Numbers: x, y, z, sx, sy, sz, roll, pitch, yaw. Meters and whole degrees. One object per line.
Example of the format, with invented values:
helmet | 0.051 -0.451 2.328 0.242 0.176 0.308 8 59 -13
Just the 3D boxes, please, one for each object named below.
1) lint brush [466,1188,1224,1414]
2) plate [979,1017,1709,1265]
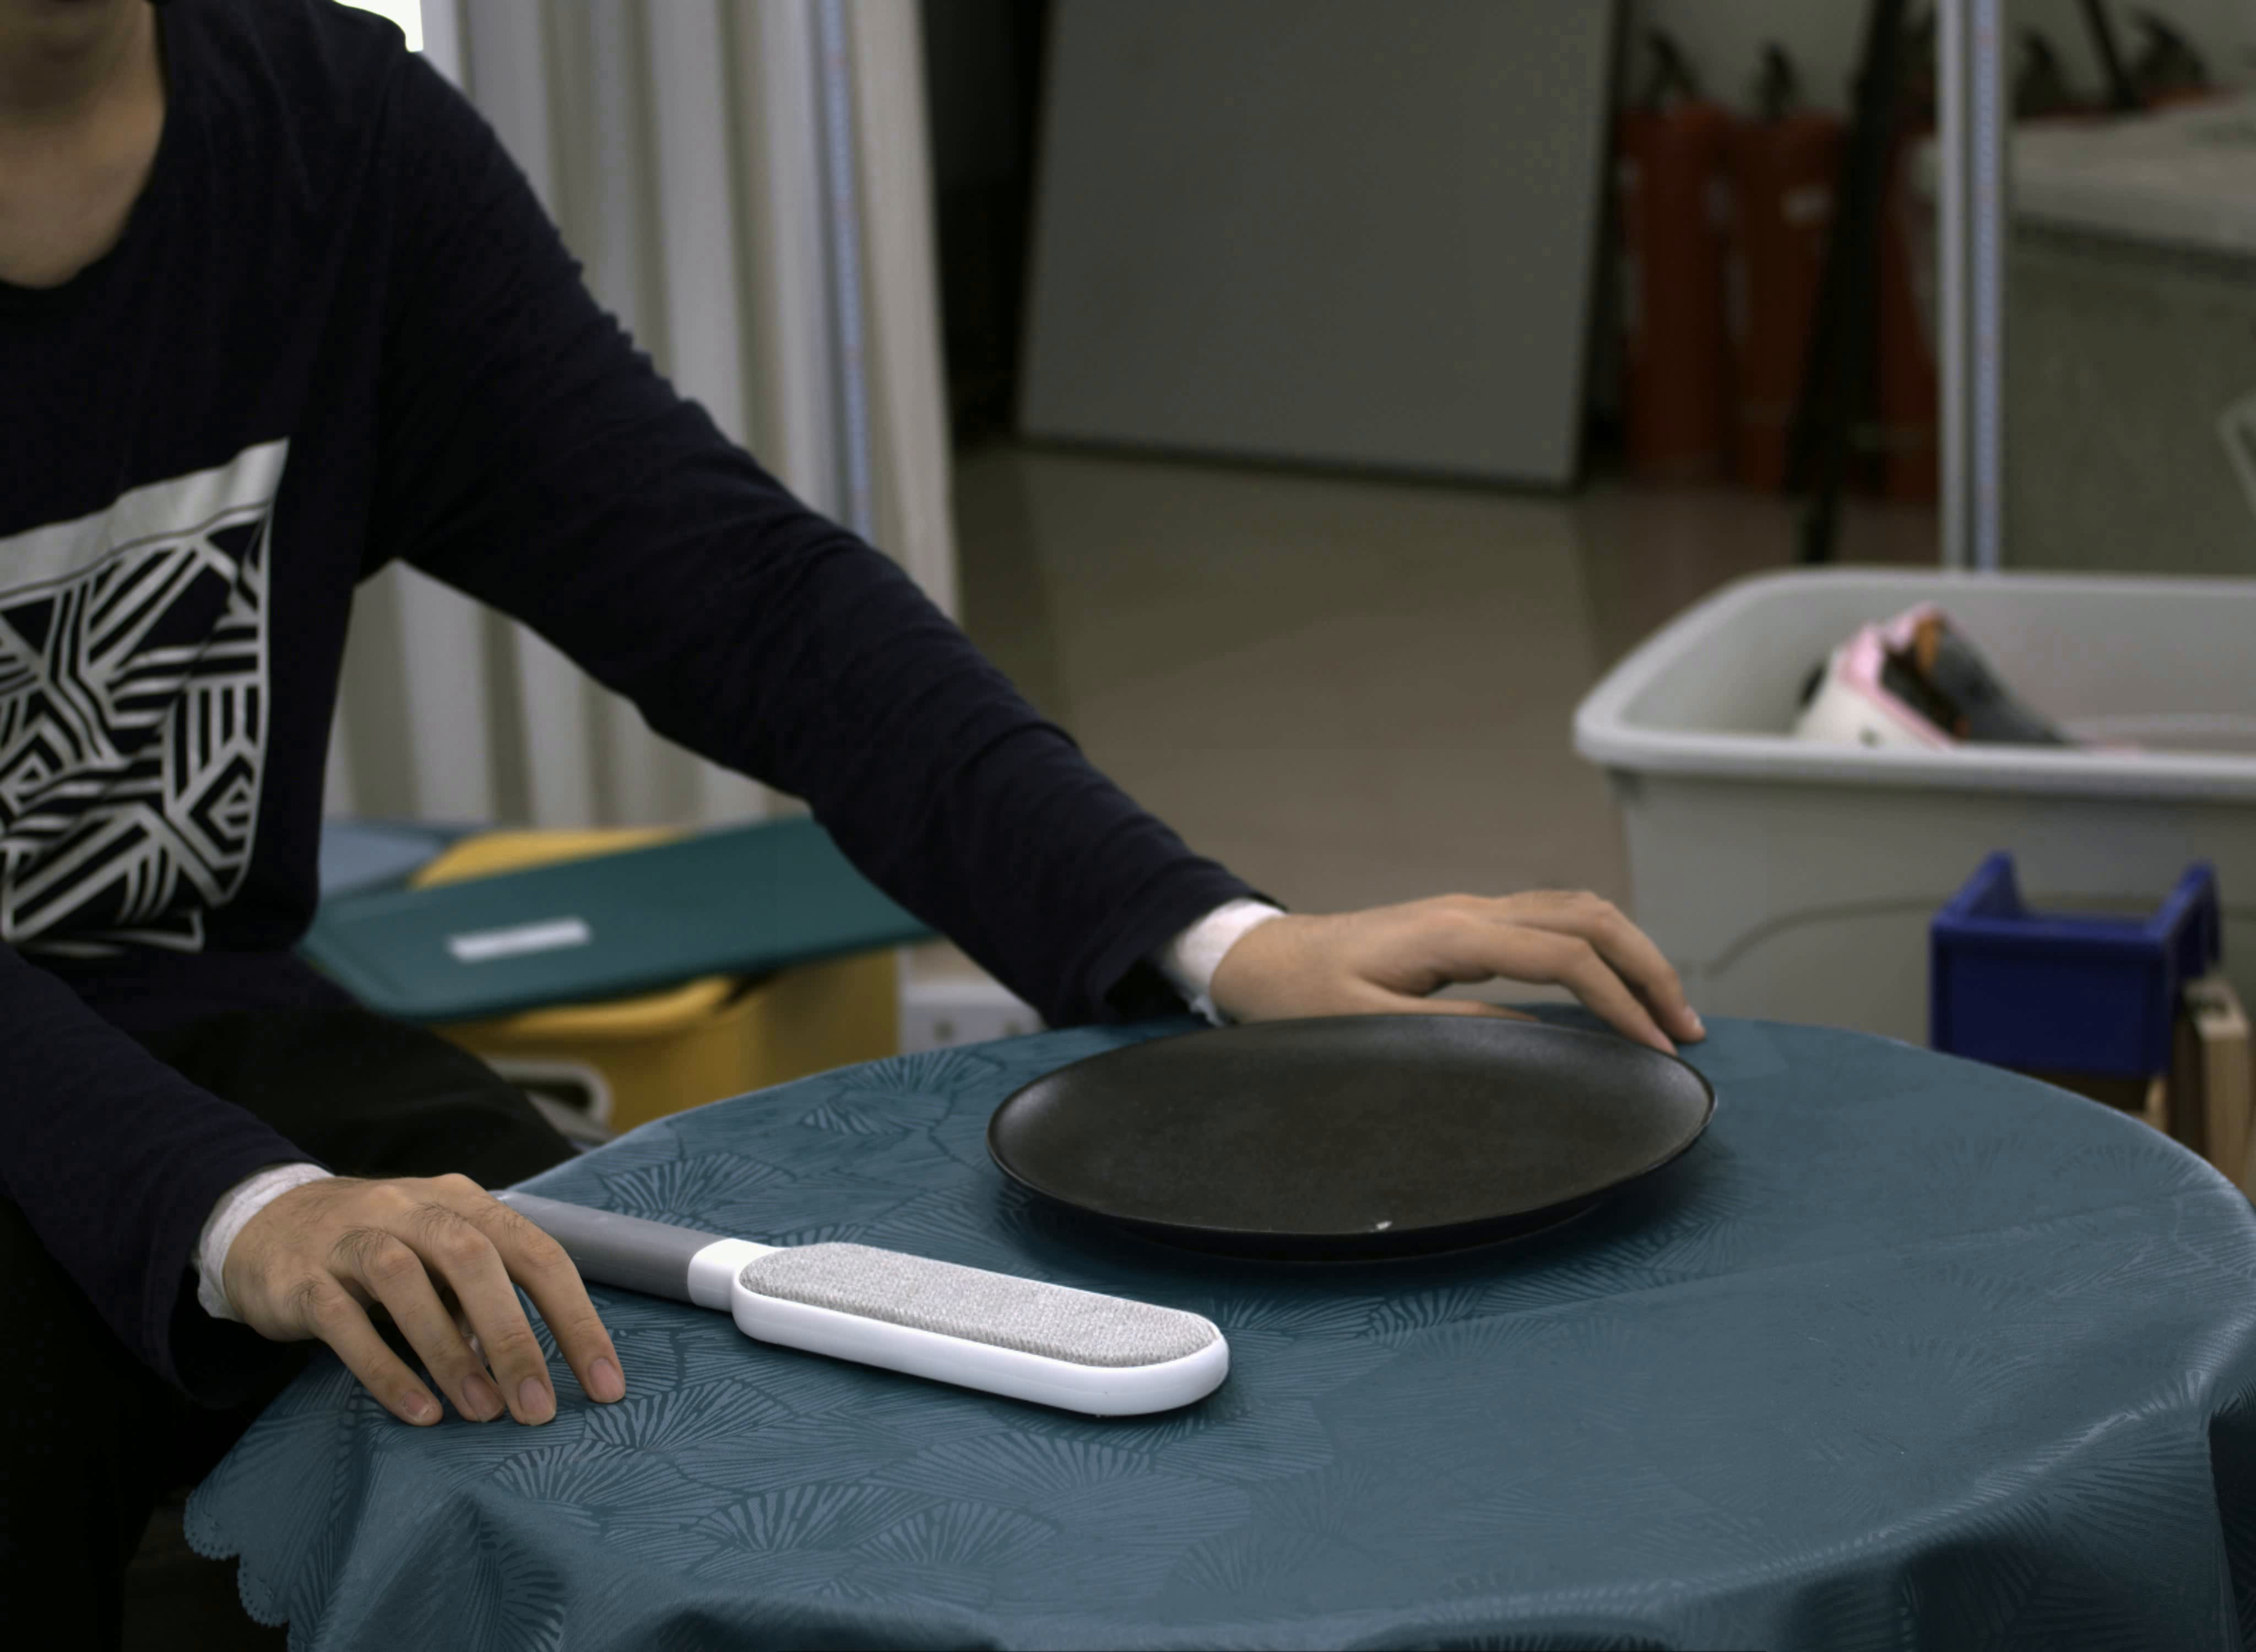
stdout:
lint brush | -0.094 0.142 1.661 0.311 0.021 0.059 8 23 41
plate | 0.071 0.106 1.770 0.241 0.024 0.245 -4 13 0
